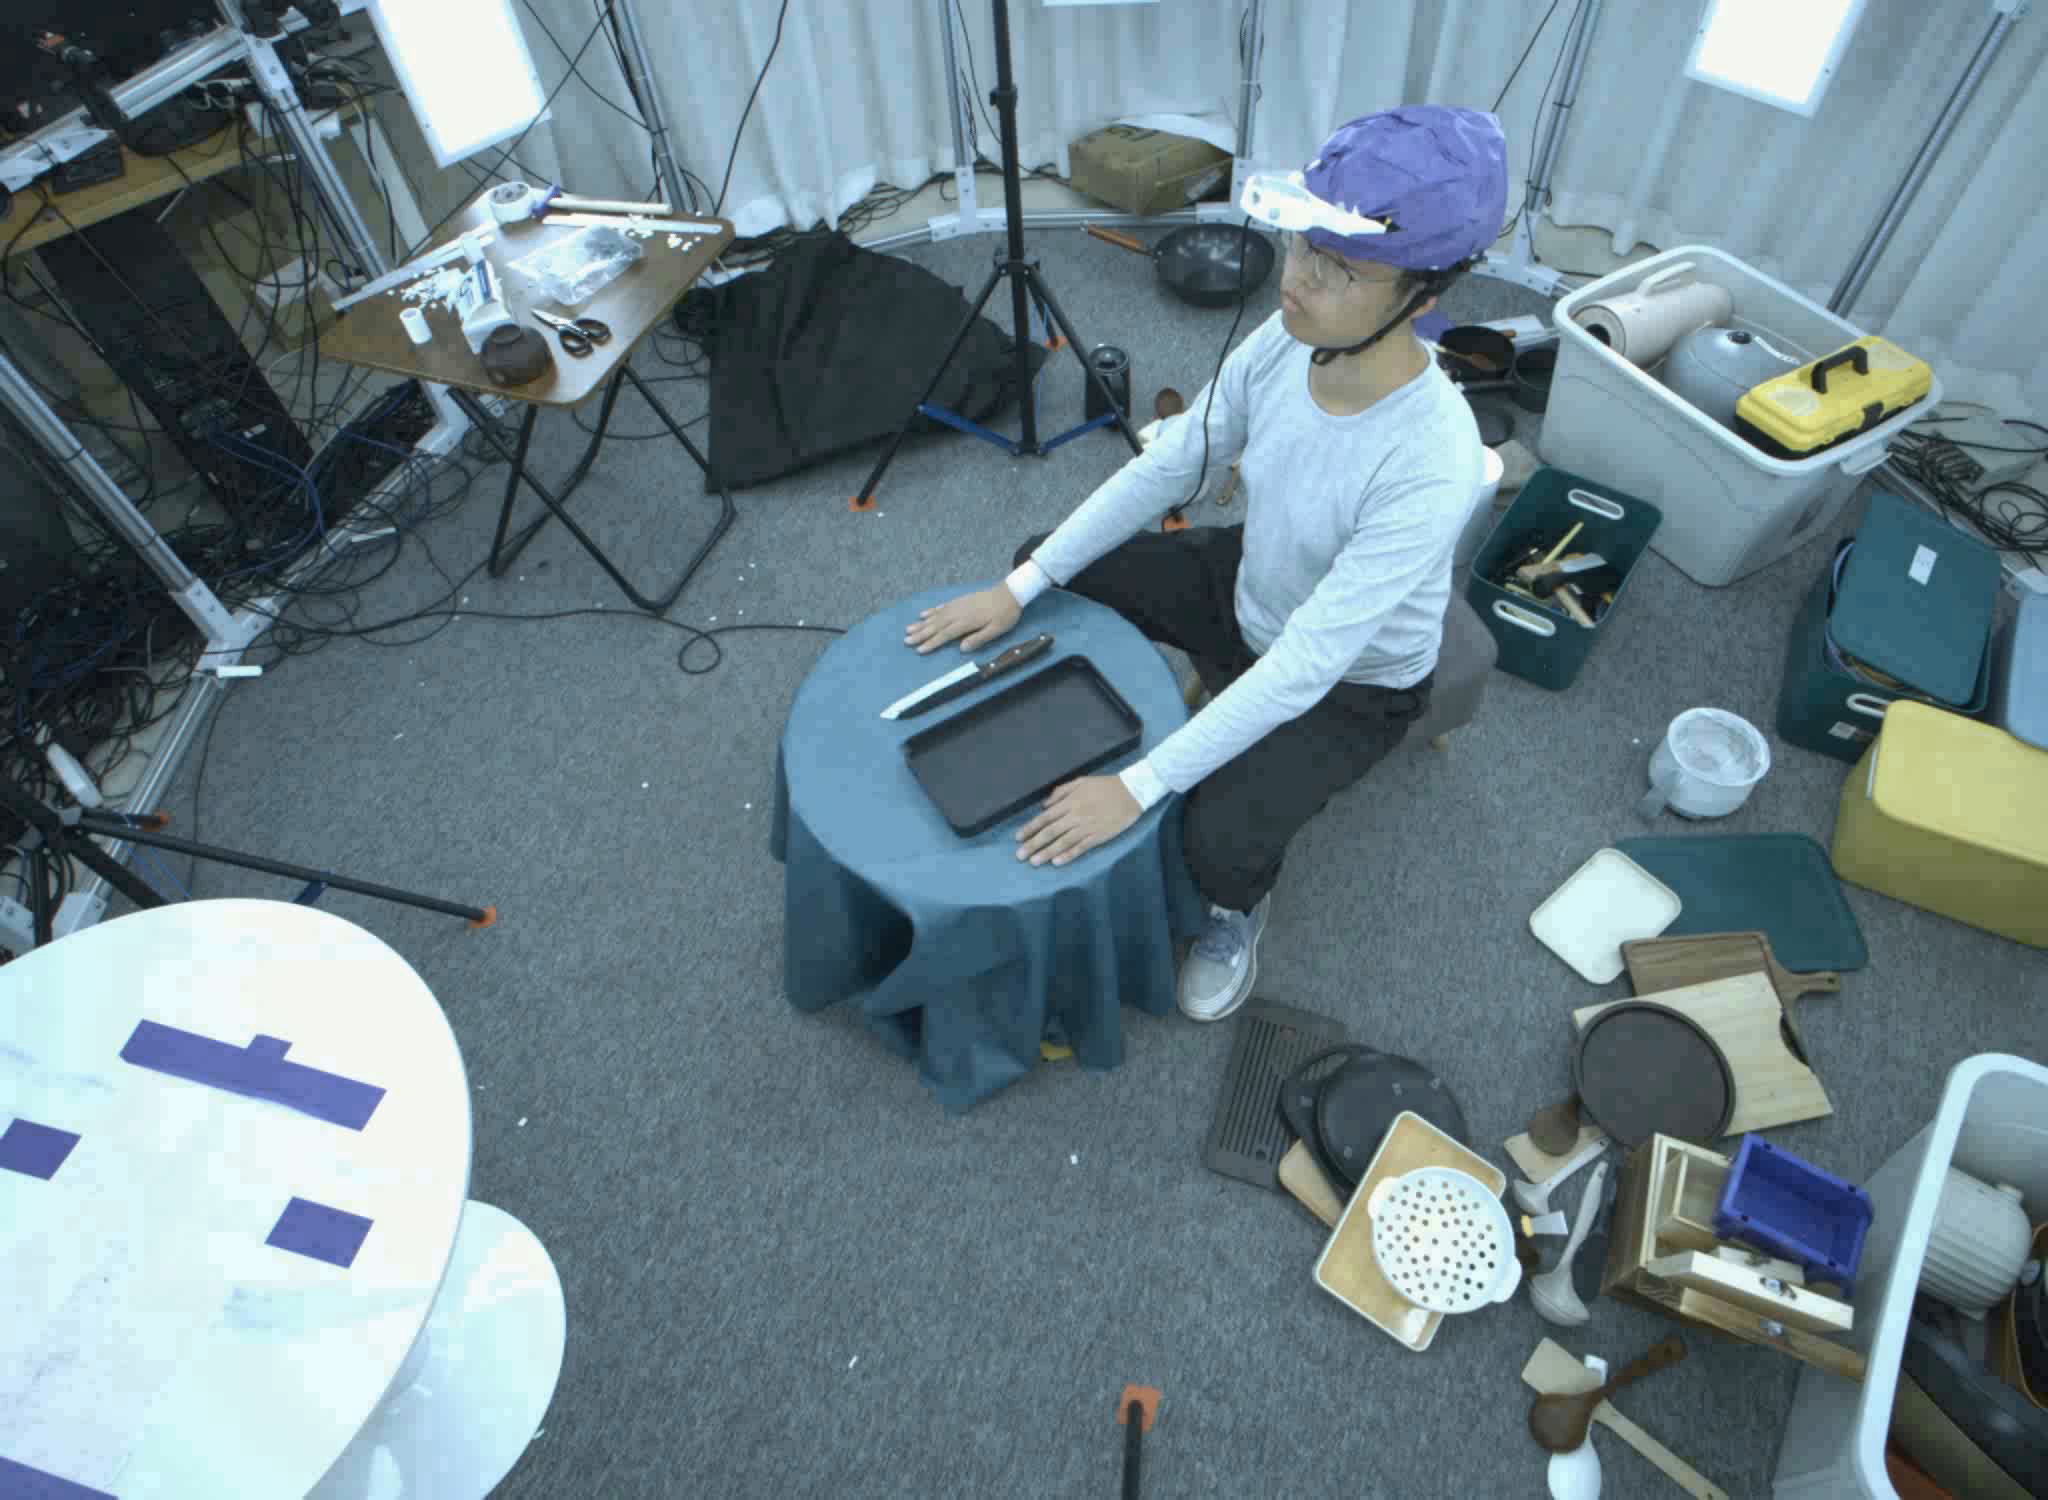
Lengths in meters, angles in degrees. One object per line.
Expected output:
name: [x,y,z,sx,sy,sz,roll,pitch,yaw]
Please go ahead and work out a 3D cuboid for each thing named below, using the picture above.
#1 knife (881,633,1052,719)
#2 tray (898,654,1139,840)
knife: [-0.087,-0.111,1.868,0.291,0.020,0.049,-26,53,-13]
tray: [-0.007,-0.009,1.780,0.320,0.037,0.181,-29,59,-19]
